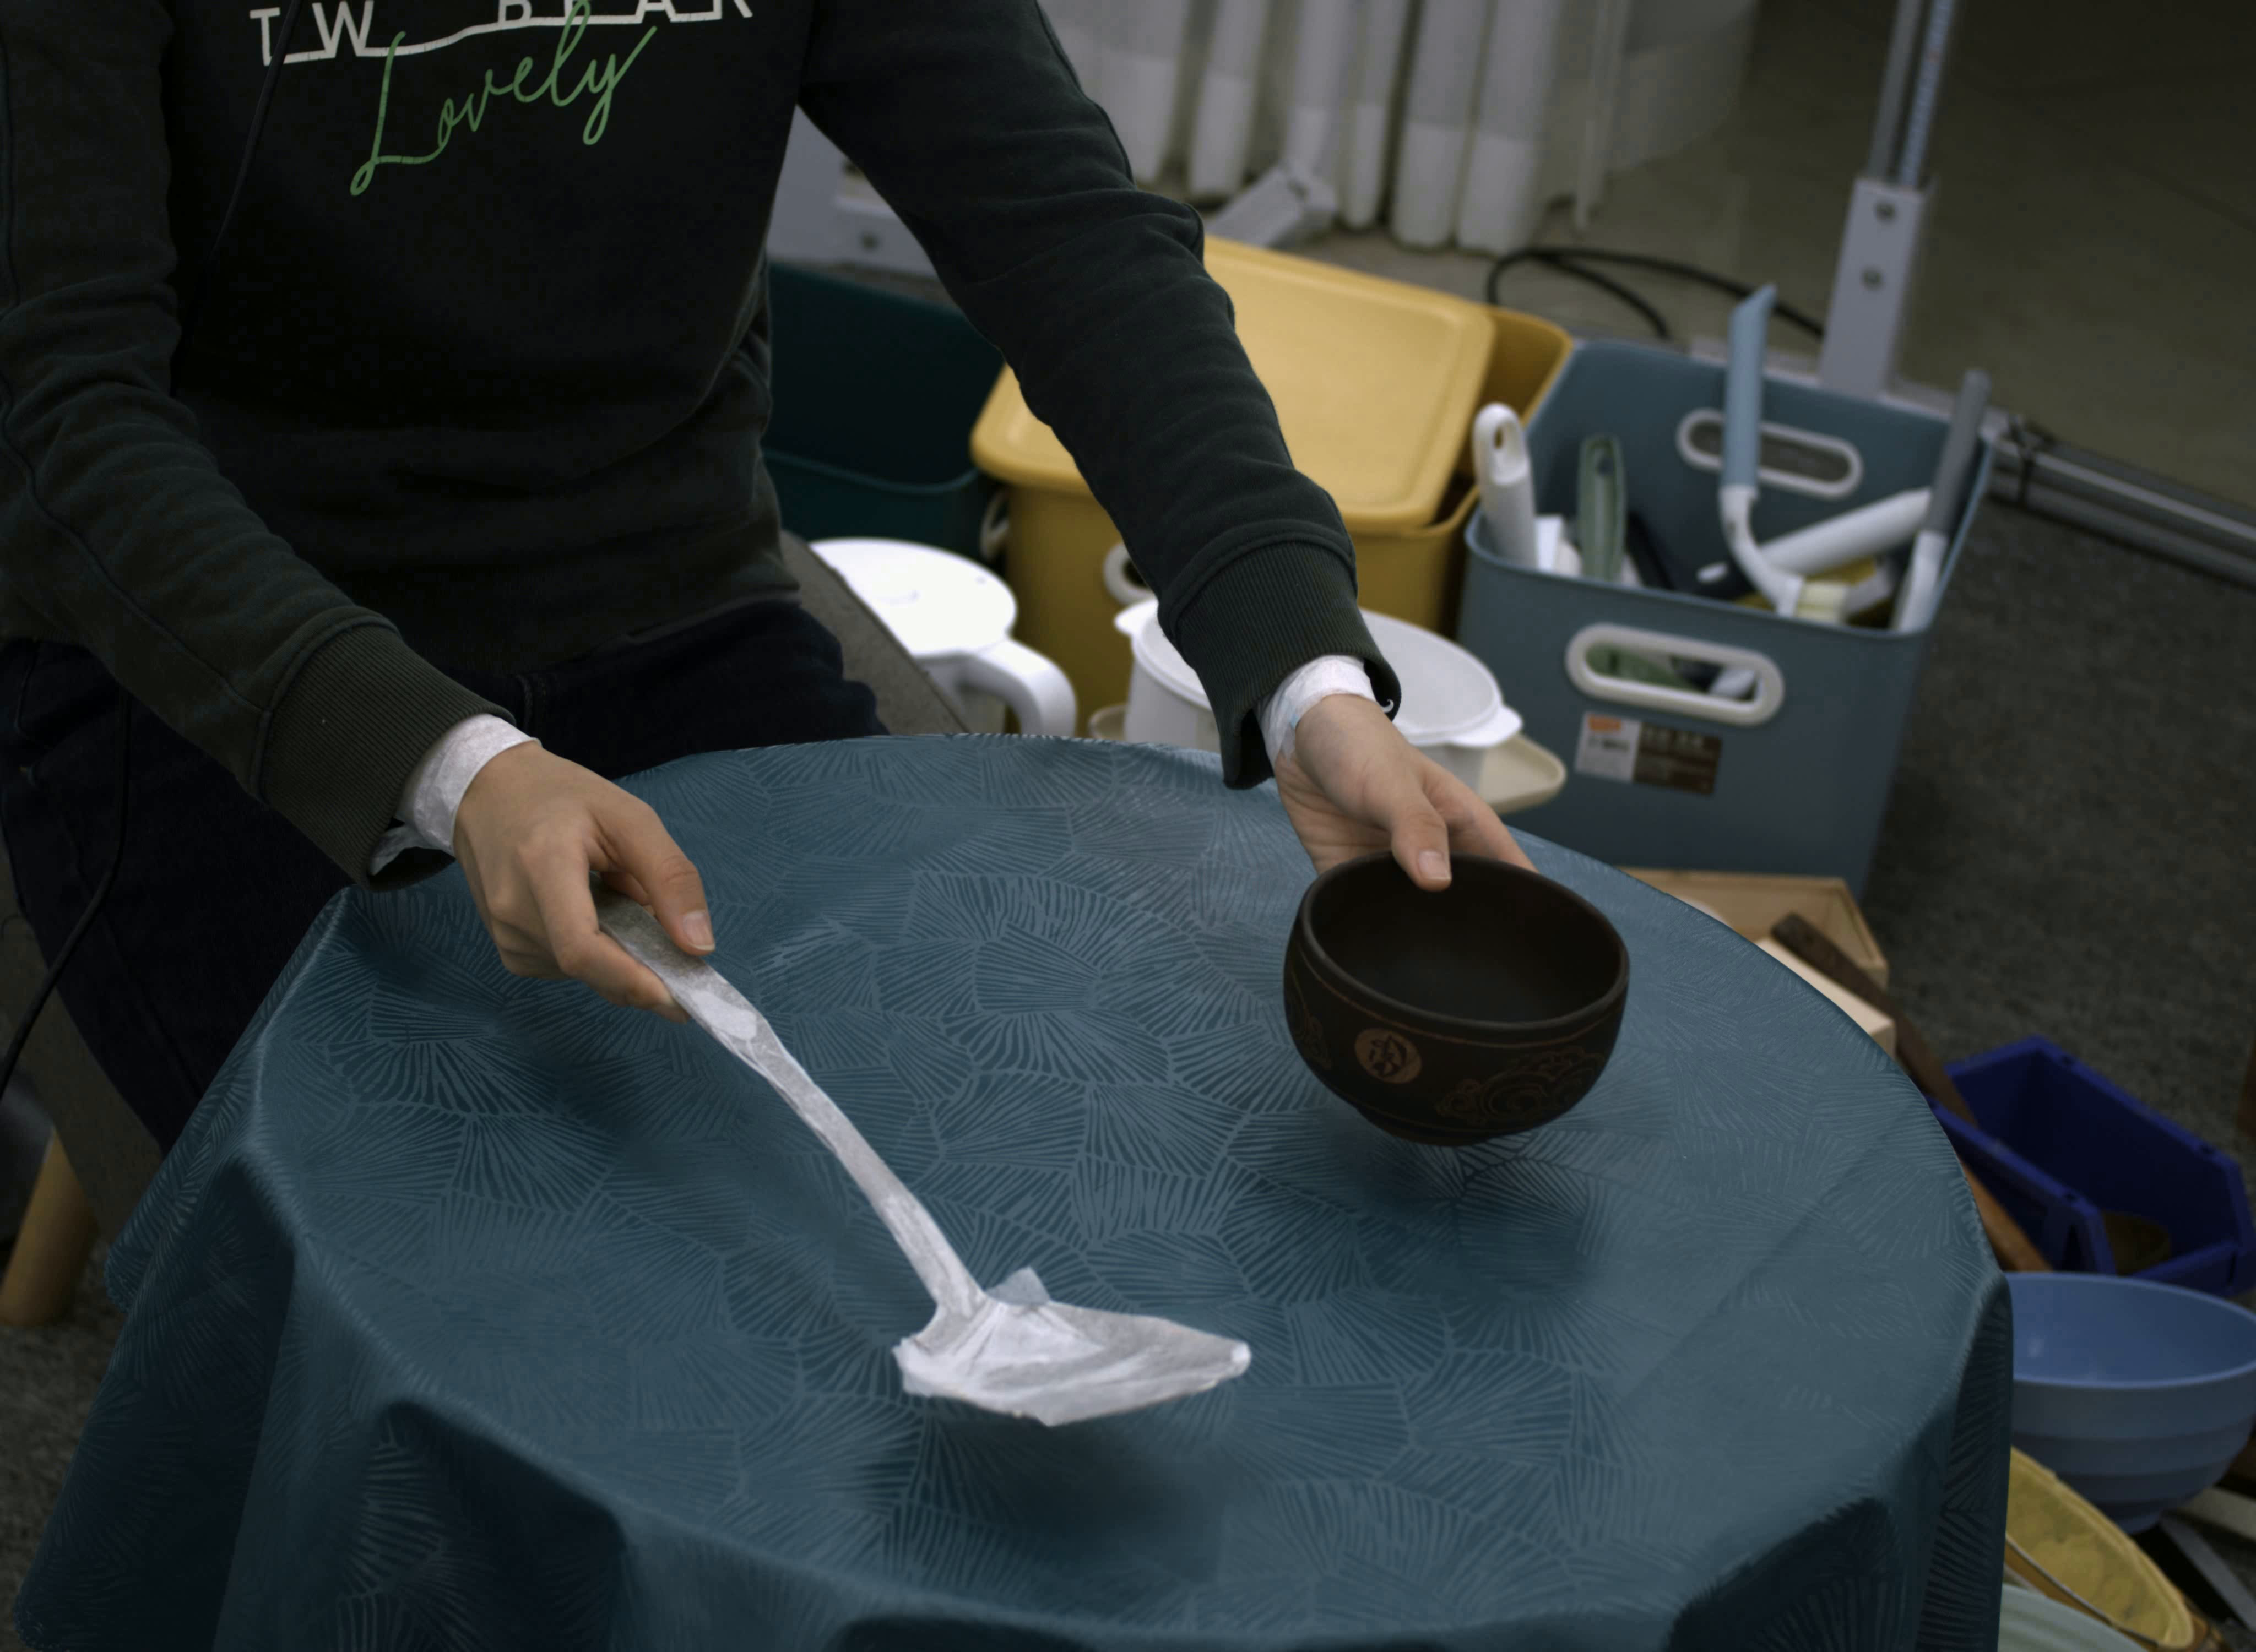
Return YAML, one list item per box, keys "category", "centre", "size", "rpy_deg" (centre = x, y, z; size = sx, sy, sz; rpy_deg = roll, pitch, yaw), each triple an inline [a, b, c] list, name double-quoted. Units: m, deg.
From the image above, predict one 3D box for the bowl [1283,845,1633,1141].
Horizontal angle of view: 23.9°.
- category: "bowl"
  centre: [0.110, 0.064, 1.821]
  size: [0.117, 0.069, 0.119]
  rpy_deg: [8, 28, -4]

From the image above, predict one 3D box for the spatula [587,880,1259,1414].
- category: "spatula"
  centre: [-0.090, 0.095, 1.721]
  size: [0.098, 0.044, 0.368]
  rpy_deg: [-11, 36, -32]
